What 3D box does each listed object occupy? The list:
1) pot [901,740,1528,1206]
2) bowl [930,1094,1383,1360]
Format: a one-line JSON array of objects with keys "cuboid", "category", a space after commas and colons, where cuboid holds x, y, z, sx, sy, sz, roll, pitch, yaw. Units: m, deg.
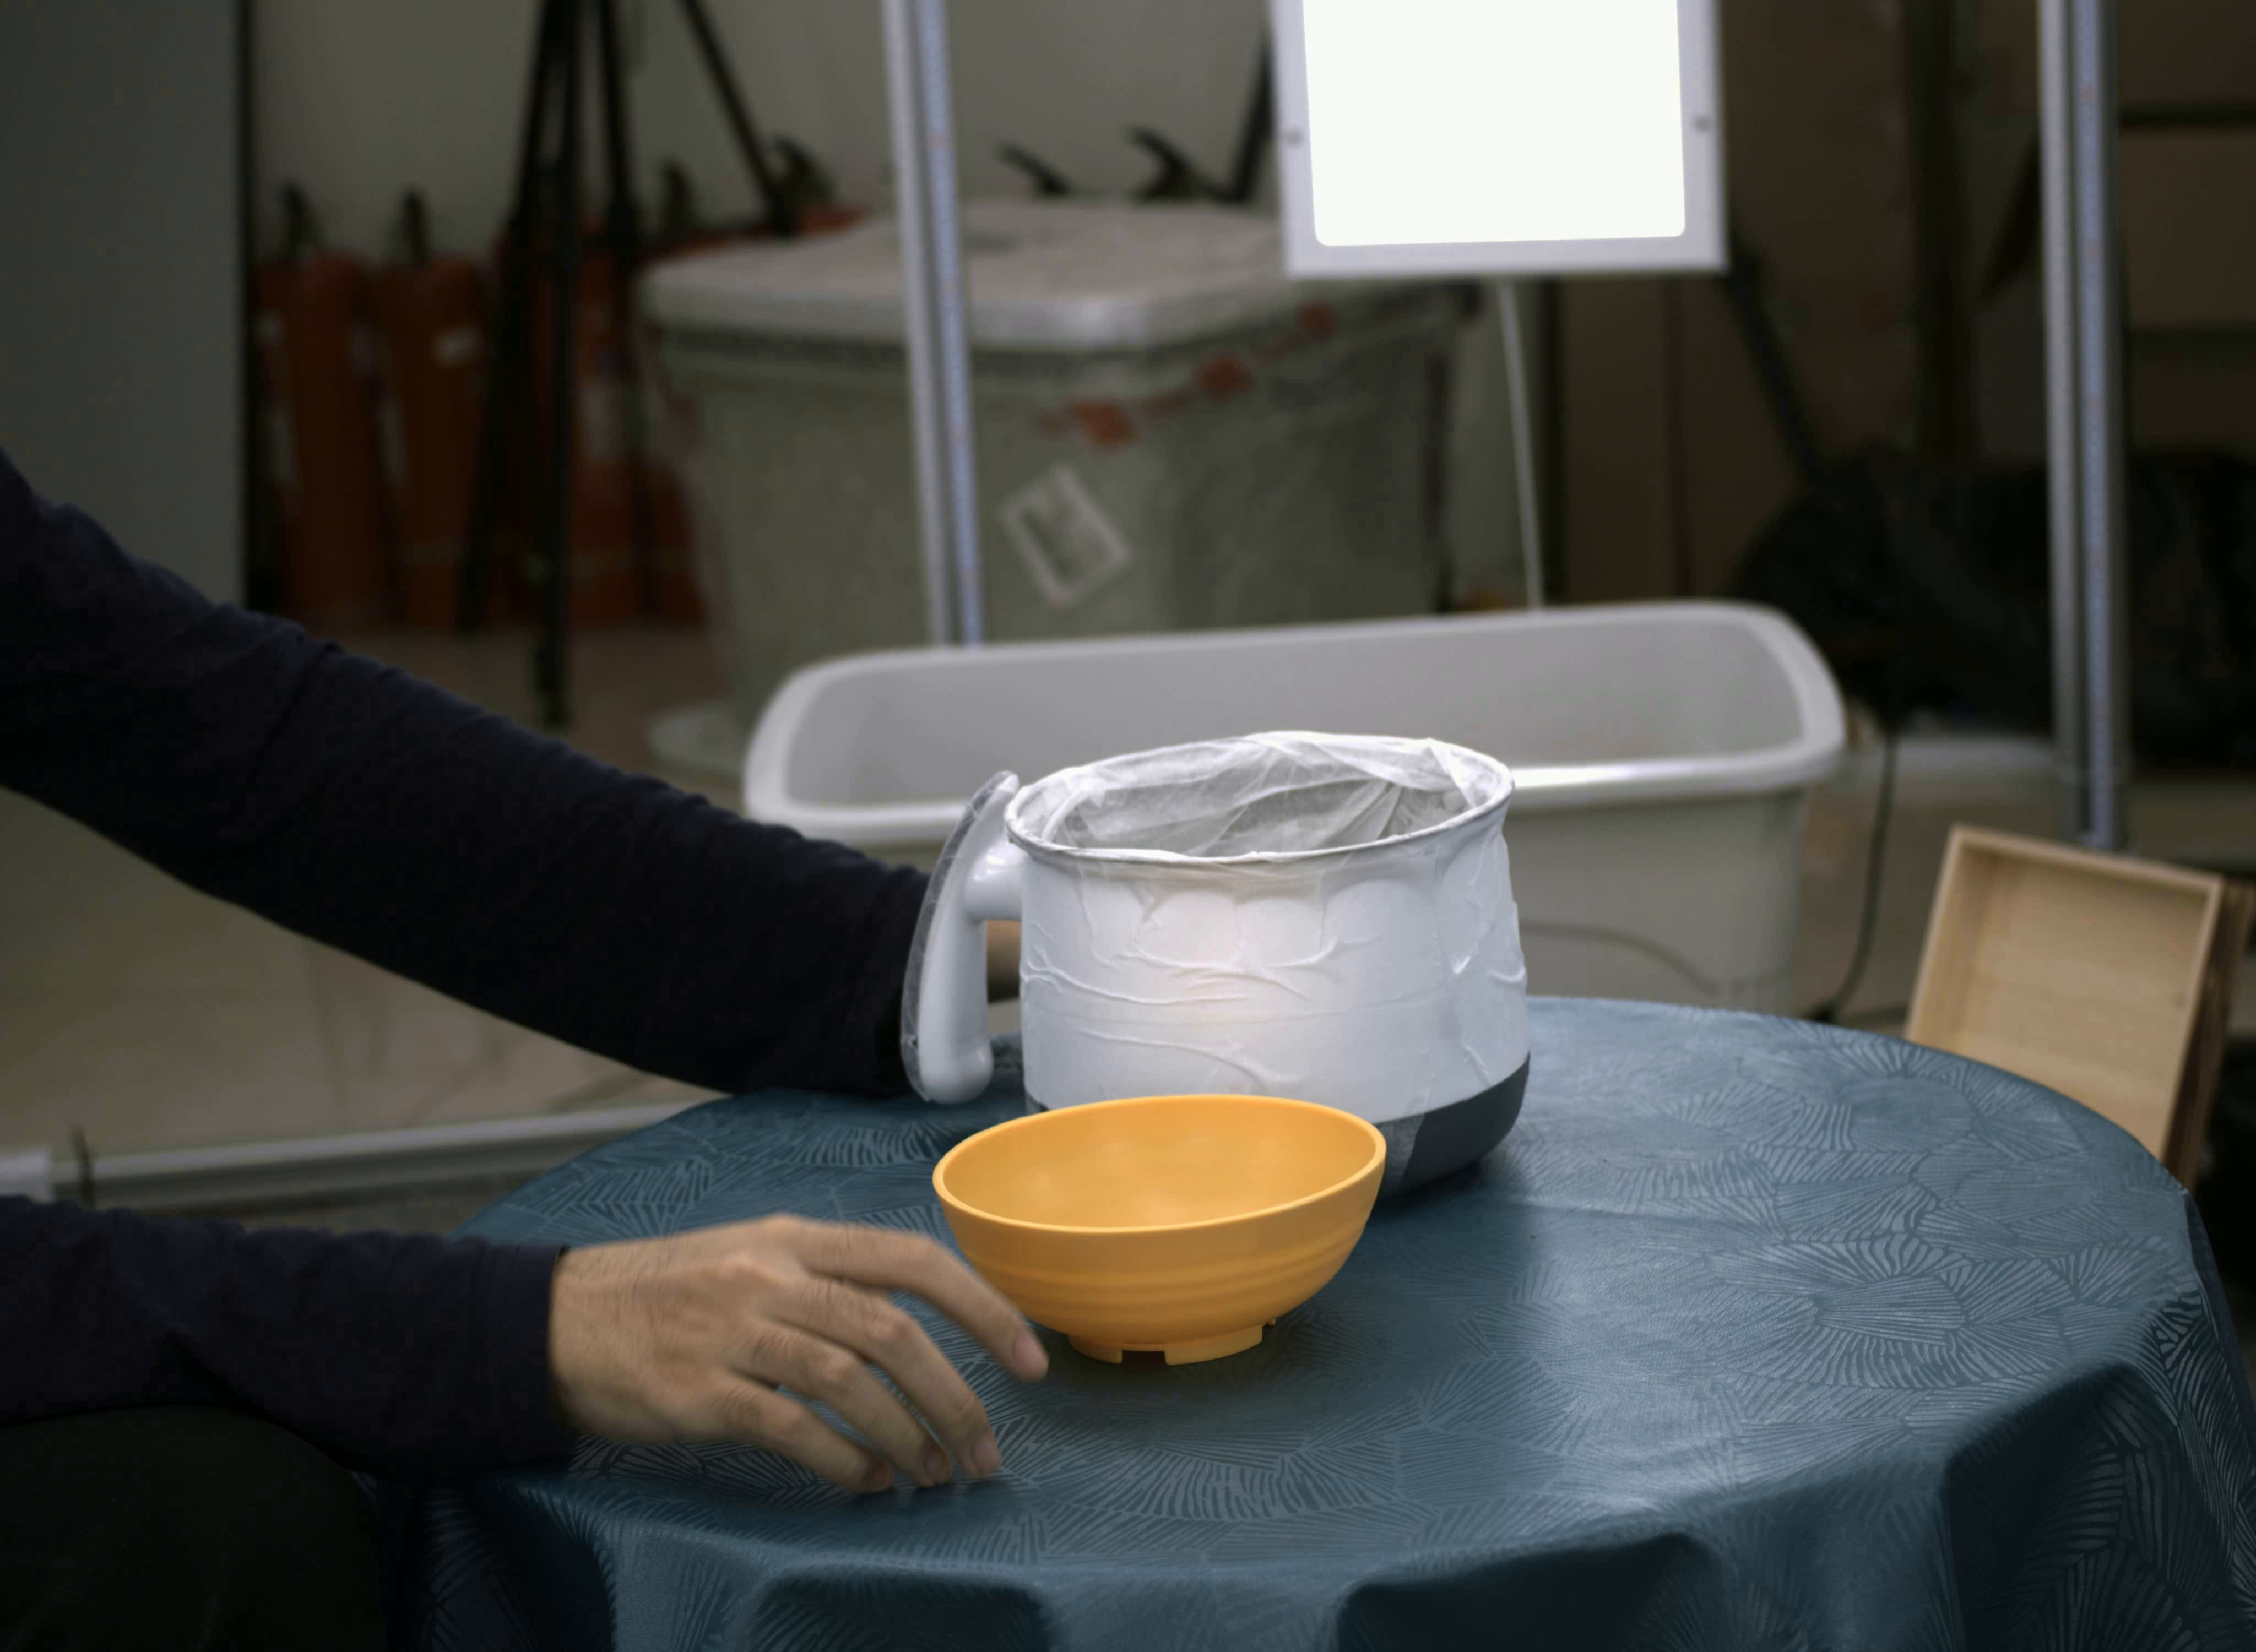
[{"cuboid": [0.025, 0.049, 1.921, 0.237, 0.137, 0.175, 3, 13, 26], "category": "pot"}, {"cuboid": [0.010, 0.131, 1.747, 0.145, 0.060, 0.145, -3, 13, -1], "category": "bowl"}]
